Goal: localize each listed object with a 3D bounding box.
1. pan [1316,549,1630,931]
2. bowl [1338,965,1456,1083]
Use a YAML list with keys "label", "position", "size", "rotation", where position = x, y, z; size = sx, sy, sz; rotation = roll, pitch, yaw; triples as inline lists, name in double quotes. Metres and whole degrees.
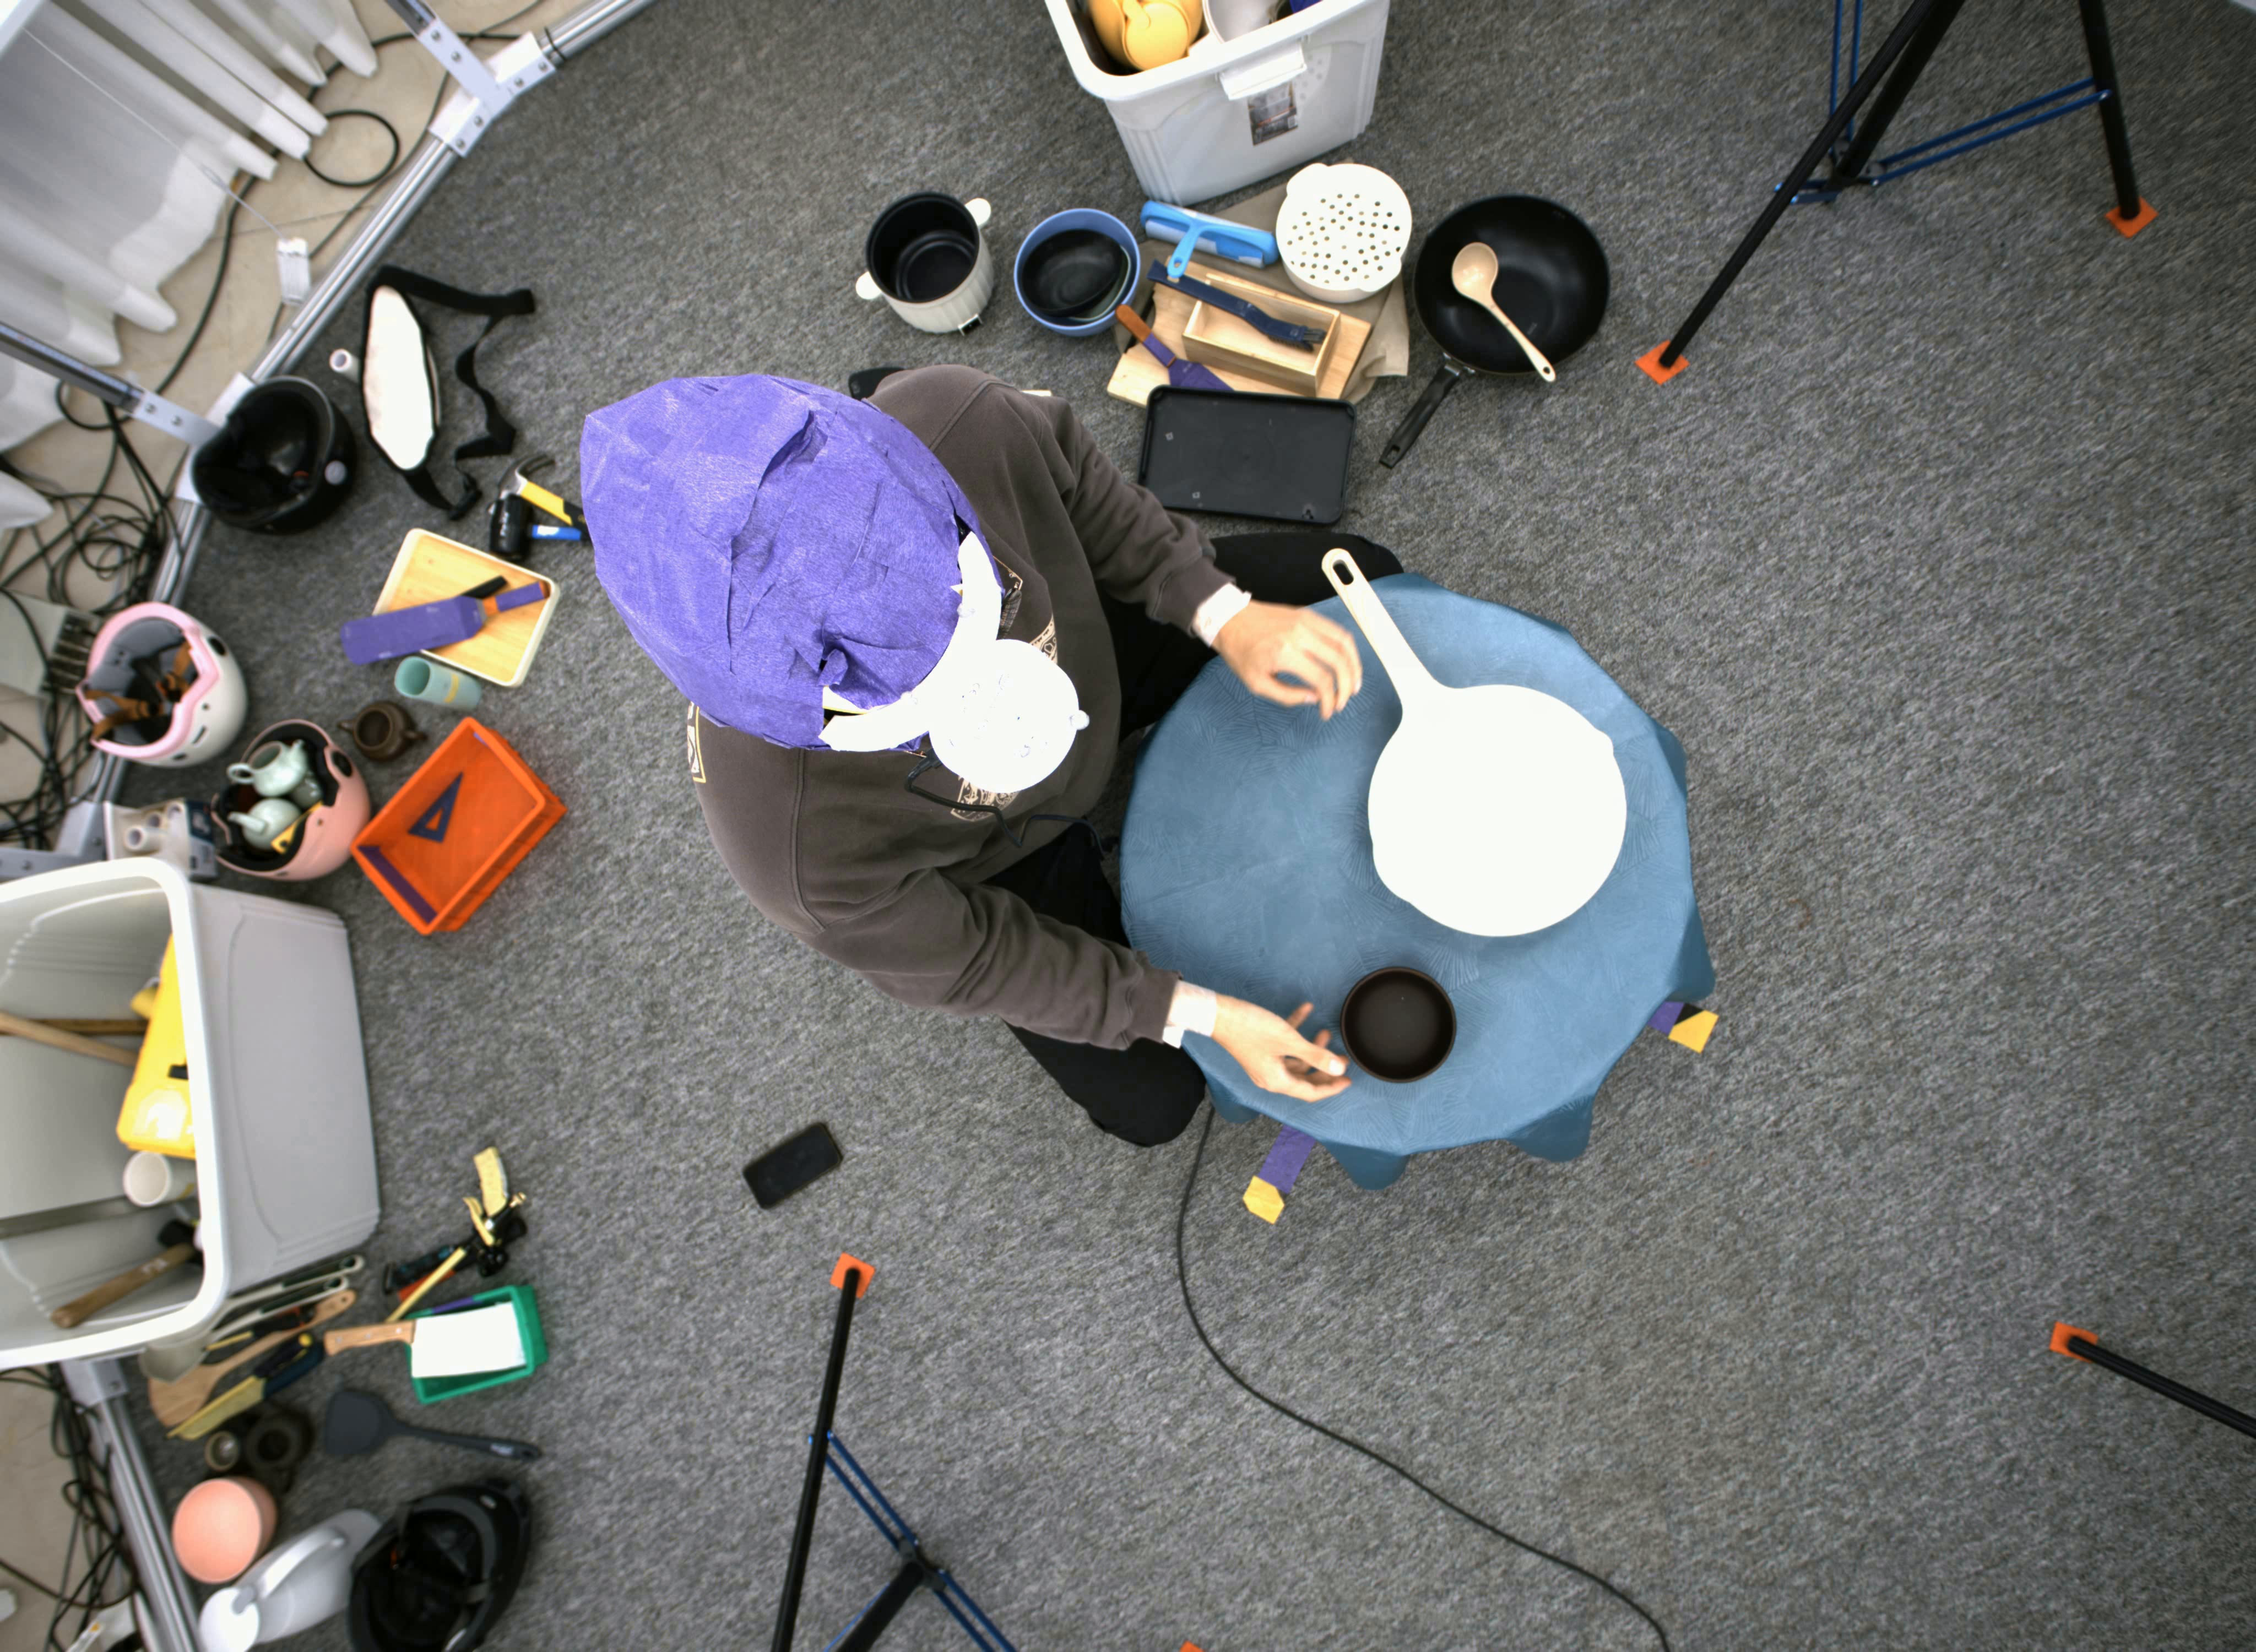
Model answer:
- label: "pan"
  position: [0.326, -0.097, 1.406]
  size: [0.265, 0.102, 0.432]
  rotation: [-33, 81, 9]
- label: "bowl"
  position: [0.275, 0.200, 1.414]
  size: [0.118, 0.070, 0.117]
  rotation: [-1, 87, 12]
